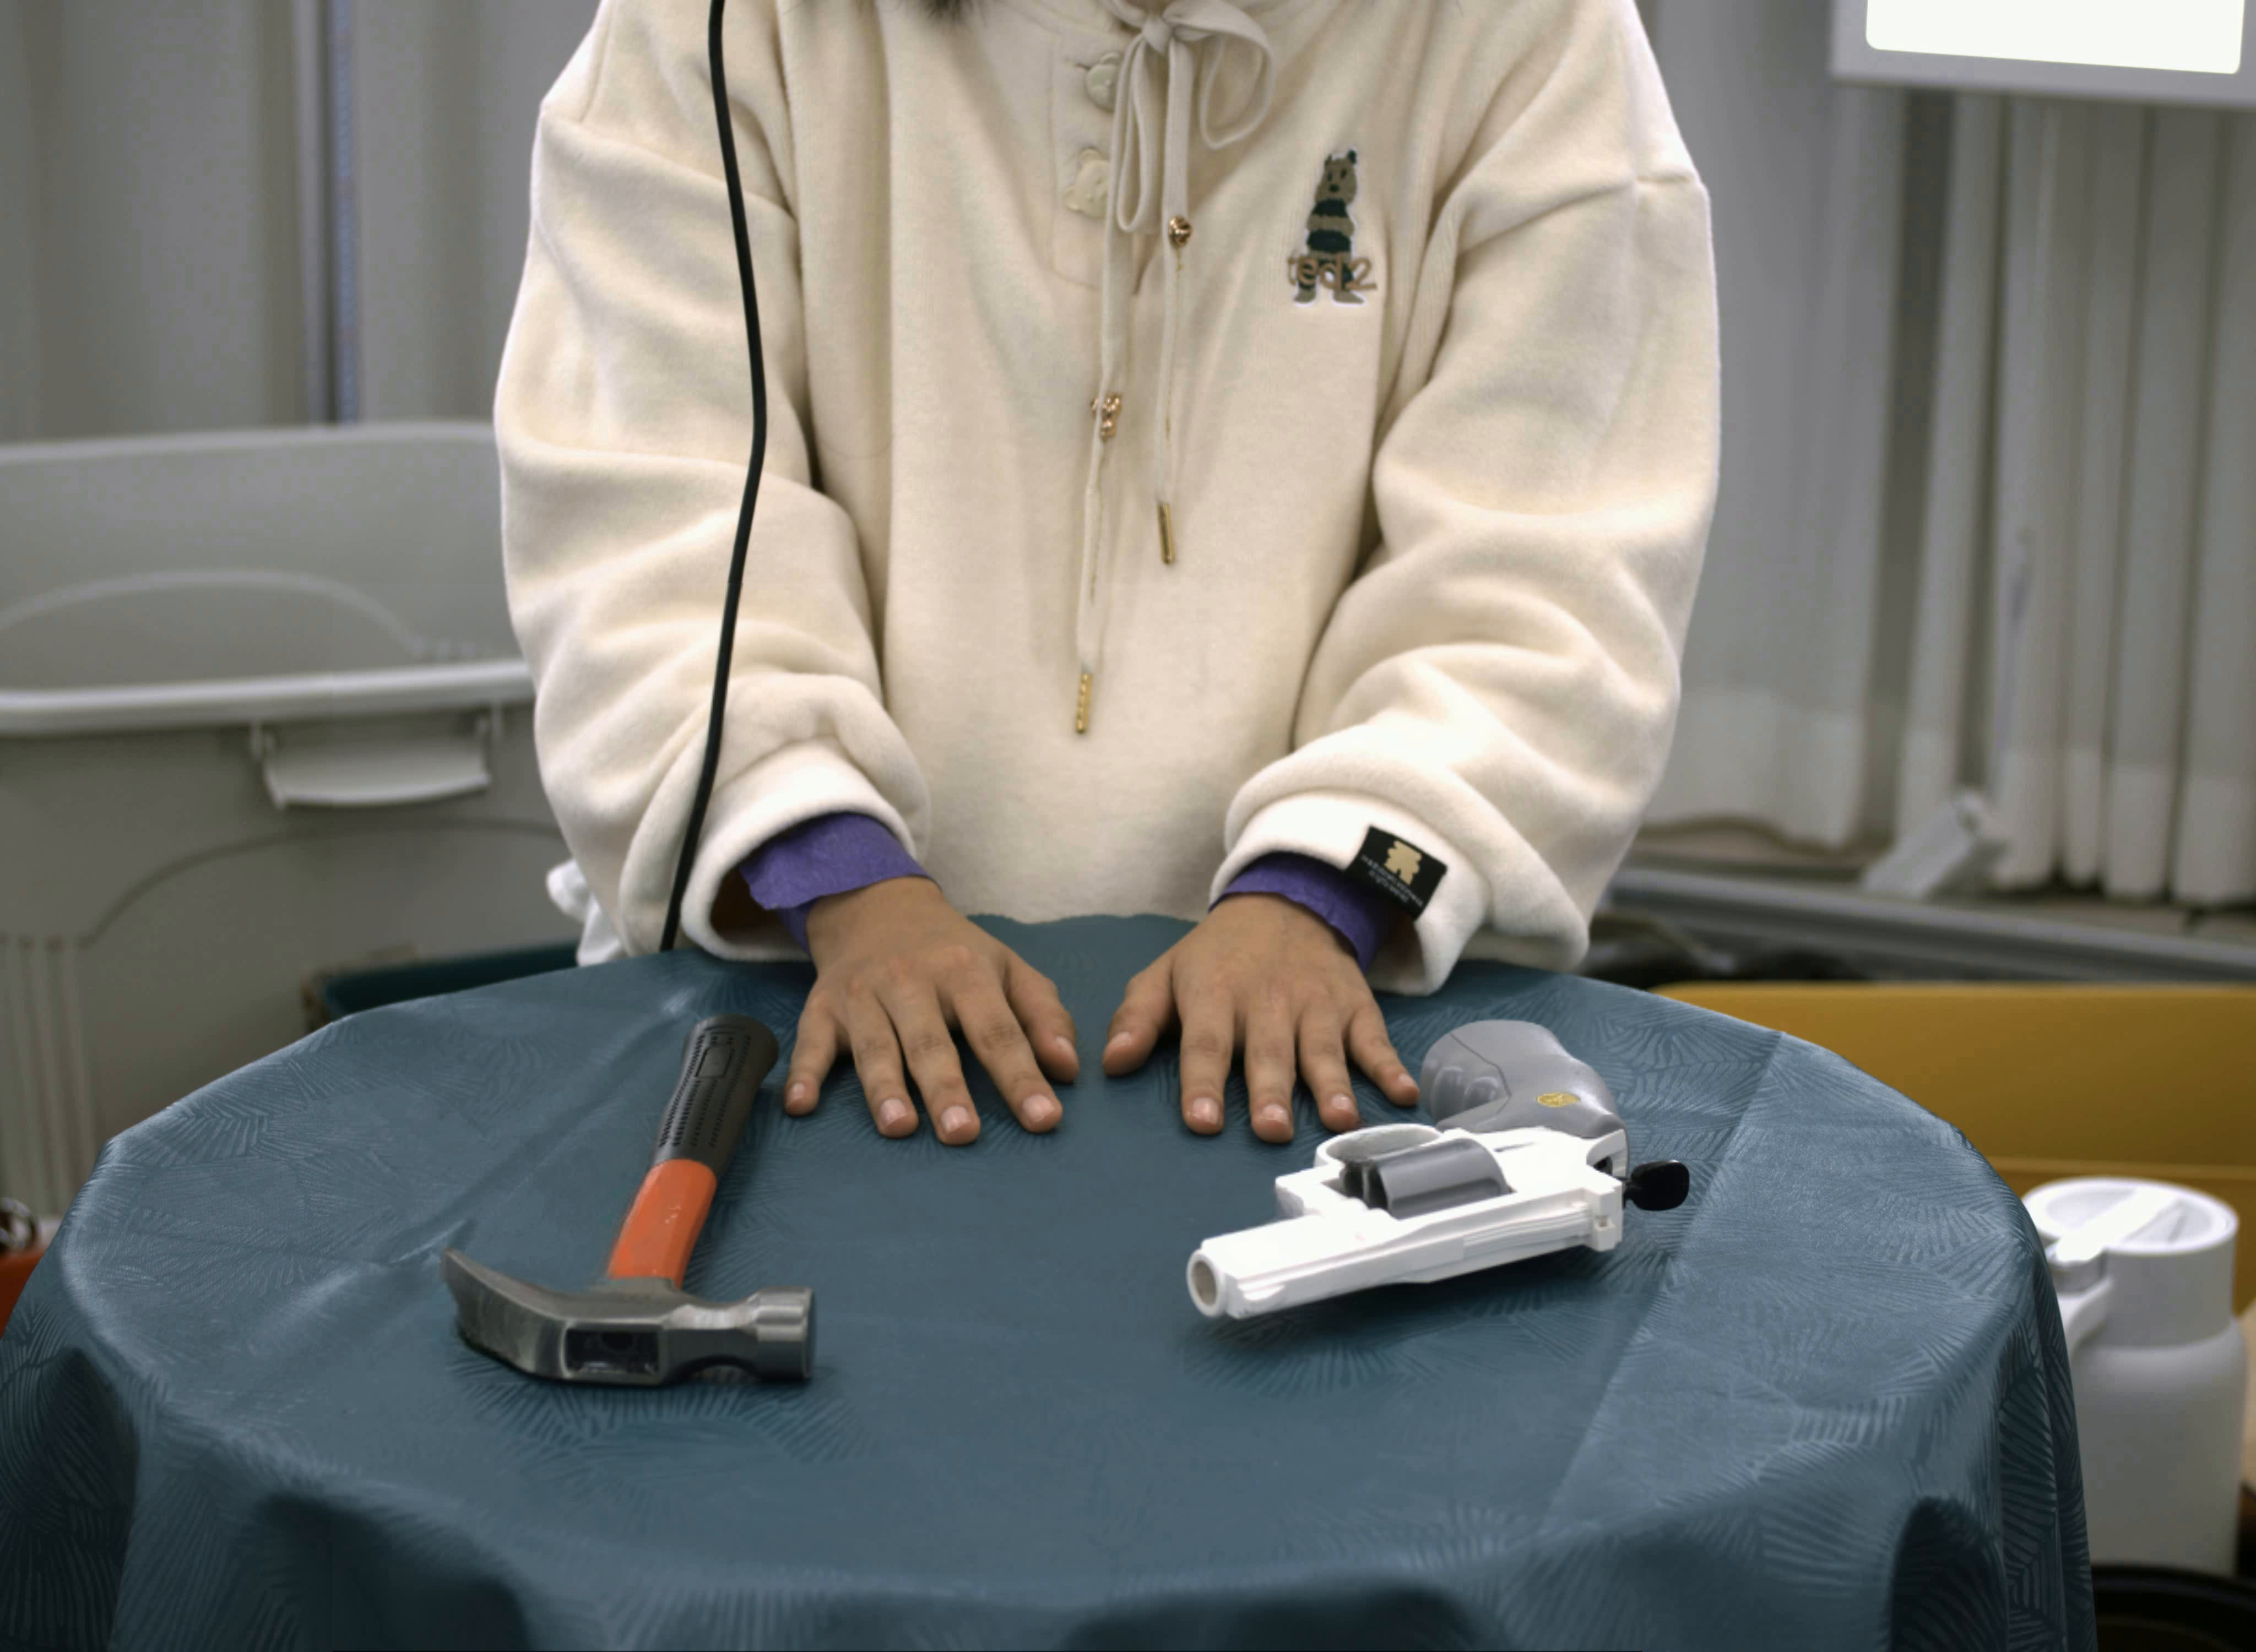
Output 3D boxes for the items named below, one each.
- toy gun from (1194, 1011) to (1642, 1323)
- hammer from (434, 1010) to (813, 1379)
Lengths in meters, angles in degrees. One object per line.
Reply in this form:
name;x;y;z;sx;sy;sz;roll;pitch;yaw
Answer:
toy gun;0.083;0.103;1.583;0.210;0.039;0.140;-10;20;-34
hammer;-0.137;0.107;1.584;0.110;0.026;0.276;-7;14;5
